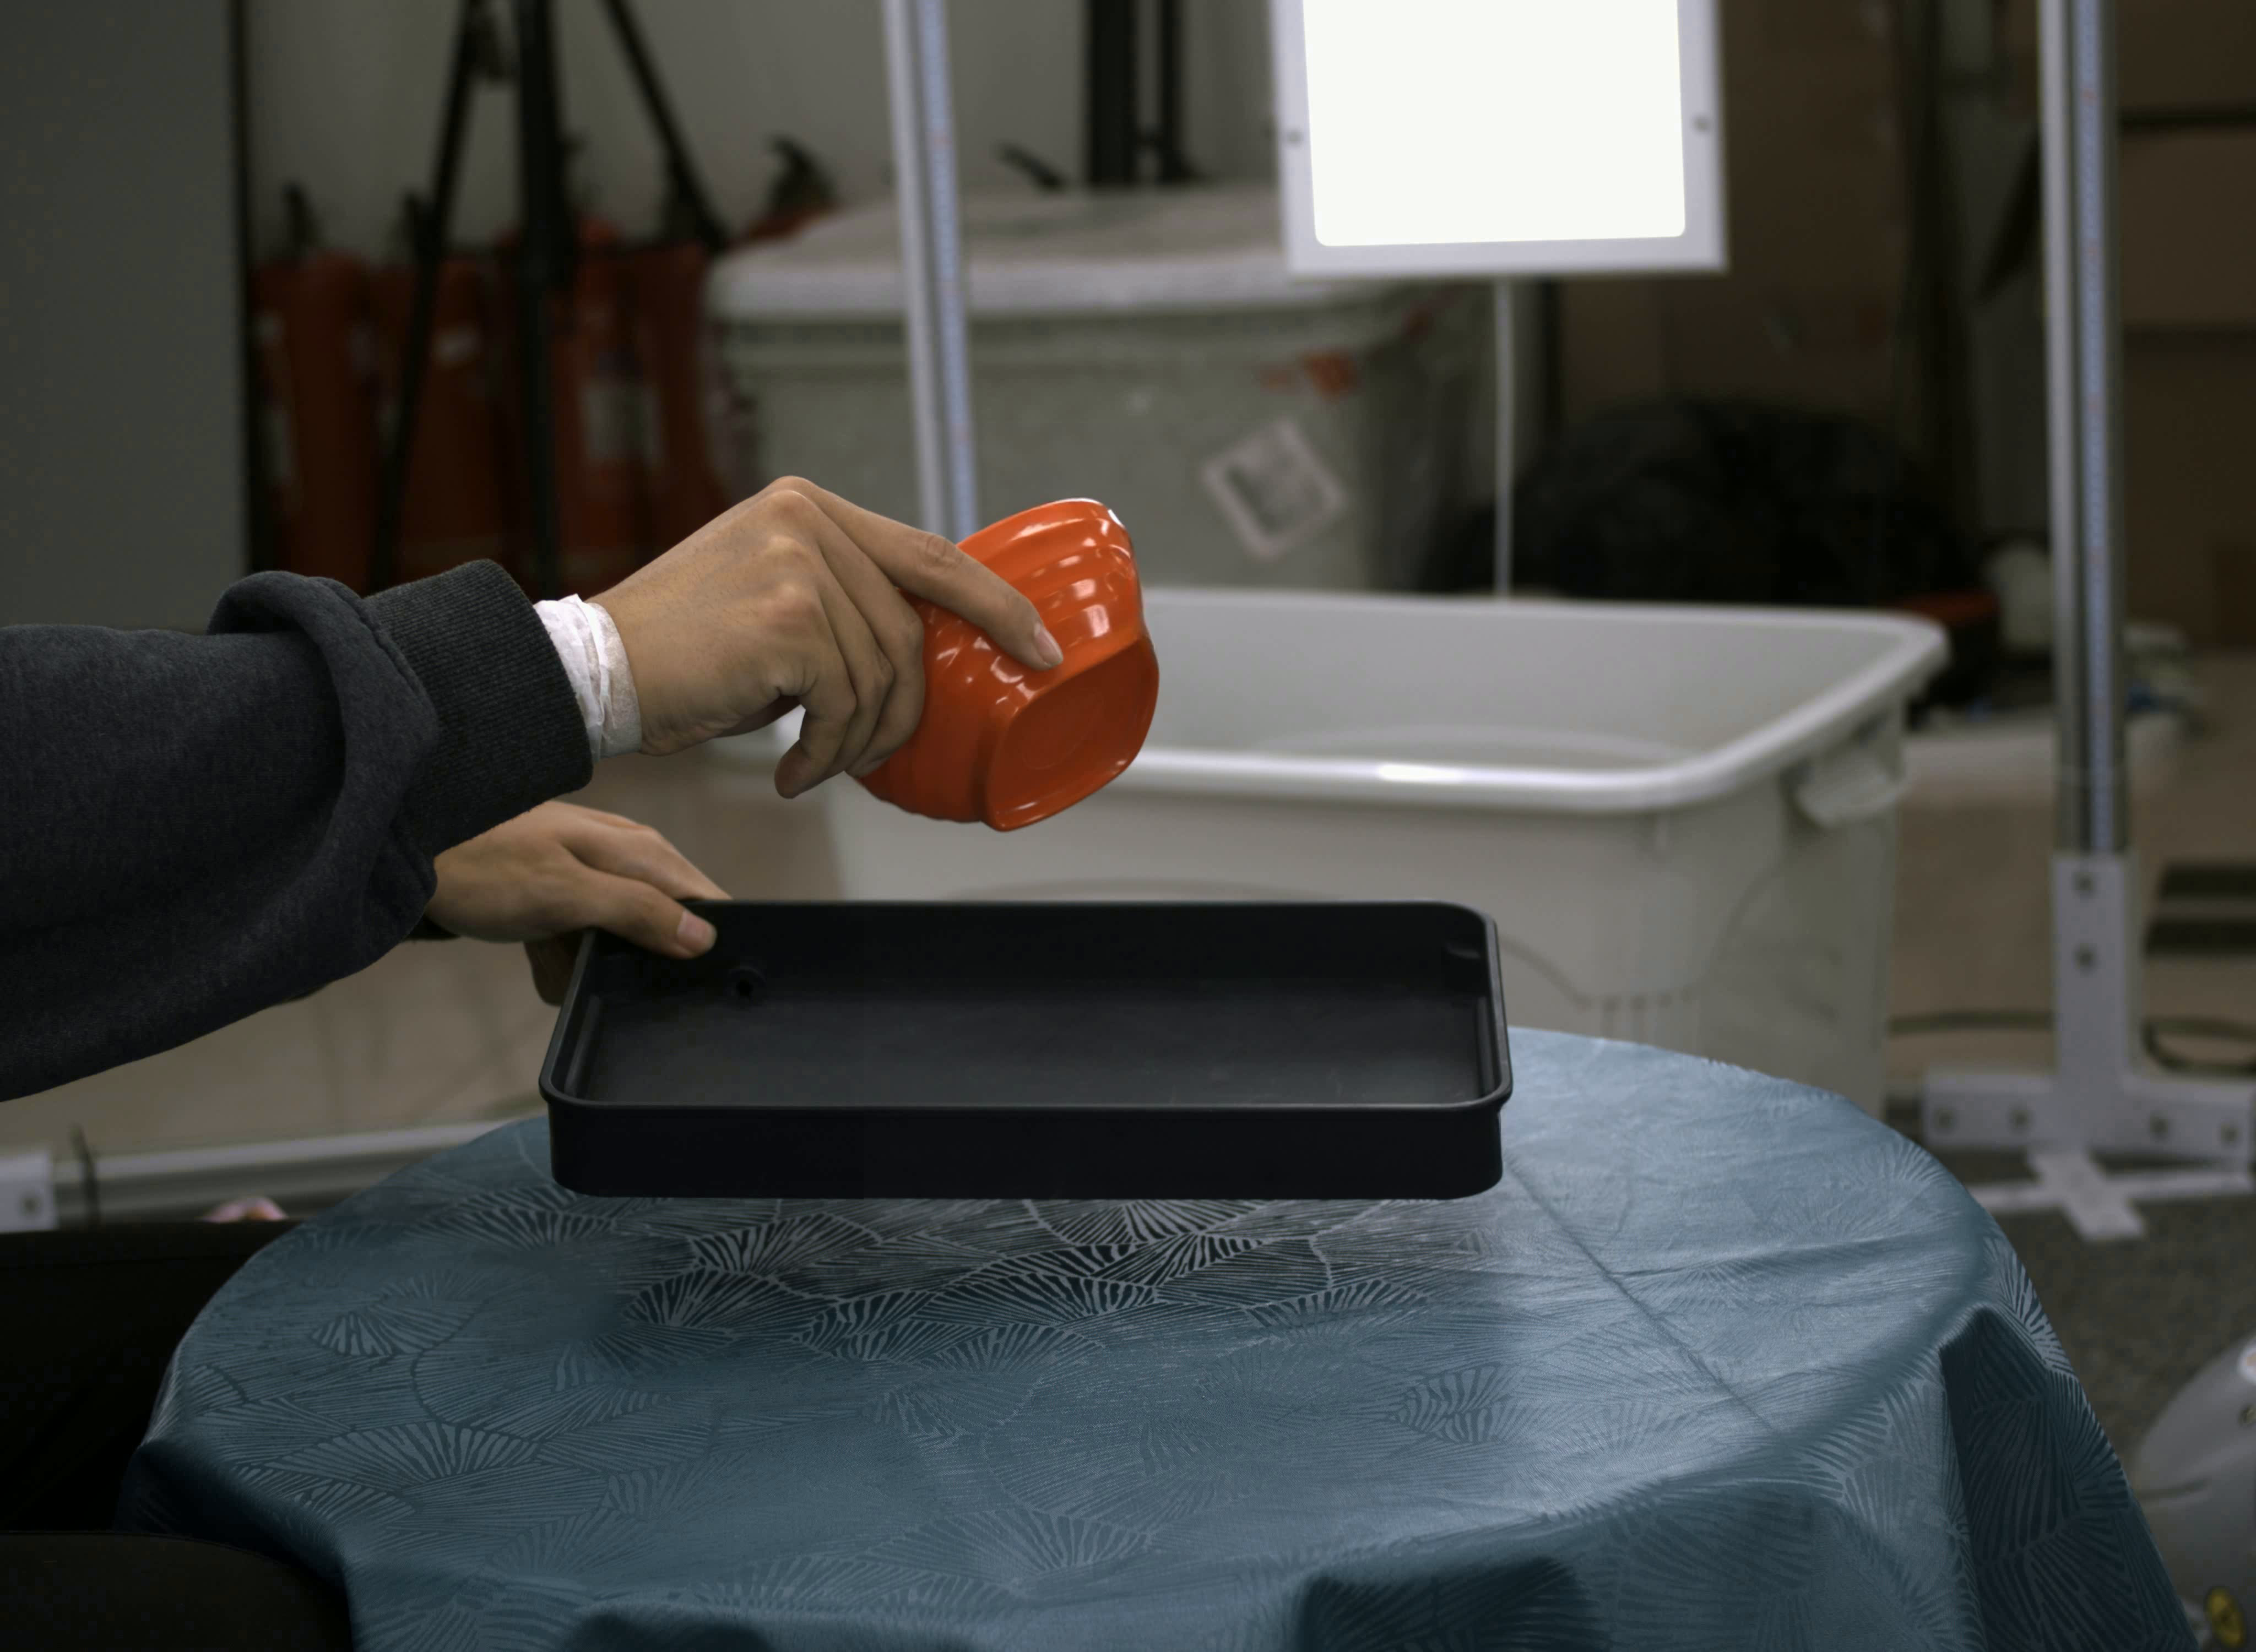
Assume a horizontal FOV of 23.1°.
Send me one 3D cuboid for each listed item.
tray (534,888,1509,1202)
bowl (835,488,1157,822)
[{"bbox_3d":[-0.033,0.072,1.854,0.318,0.037,0.183,0,21,3],"label":"tray"},{"bbox_3d":[-0.033,-0.045,1.722,0.116,0.121,0.052,-16,54,-39],"label":"bowl"}]
